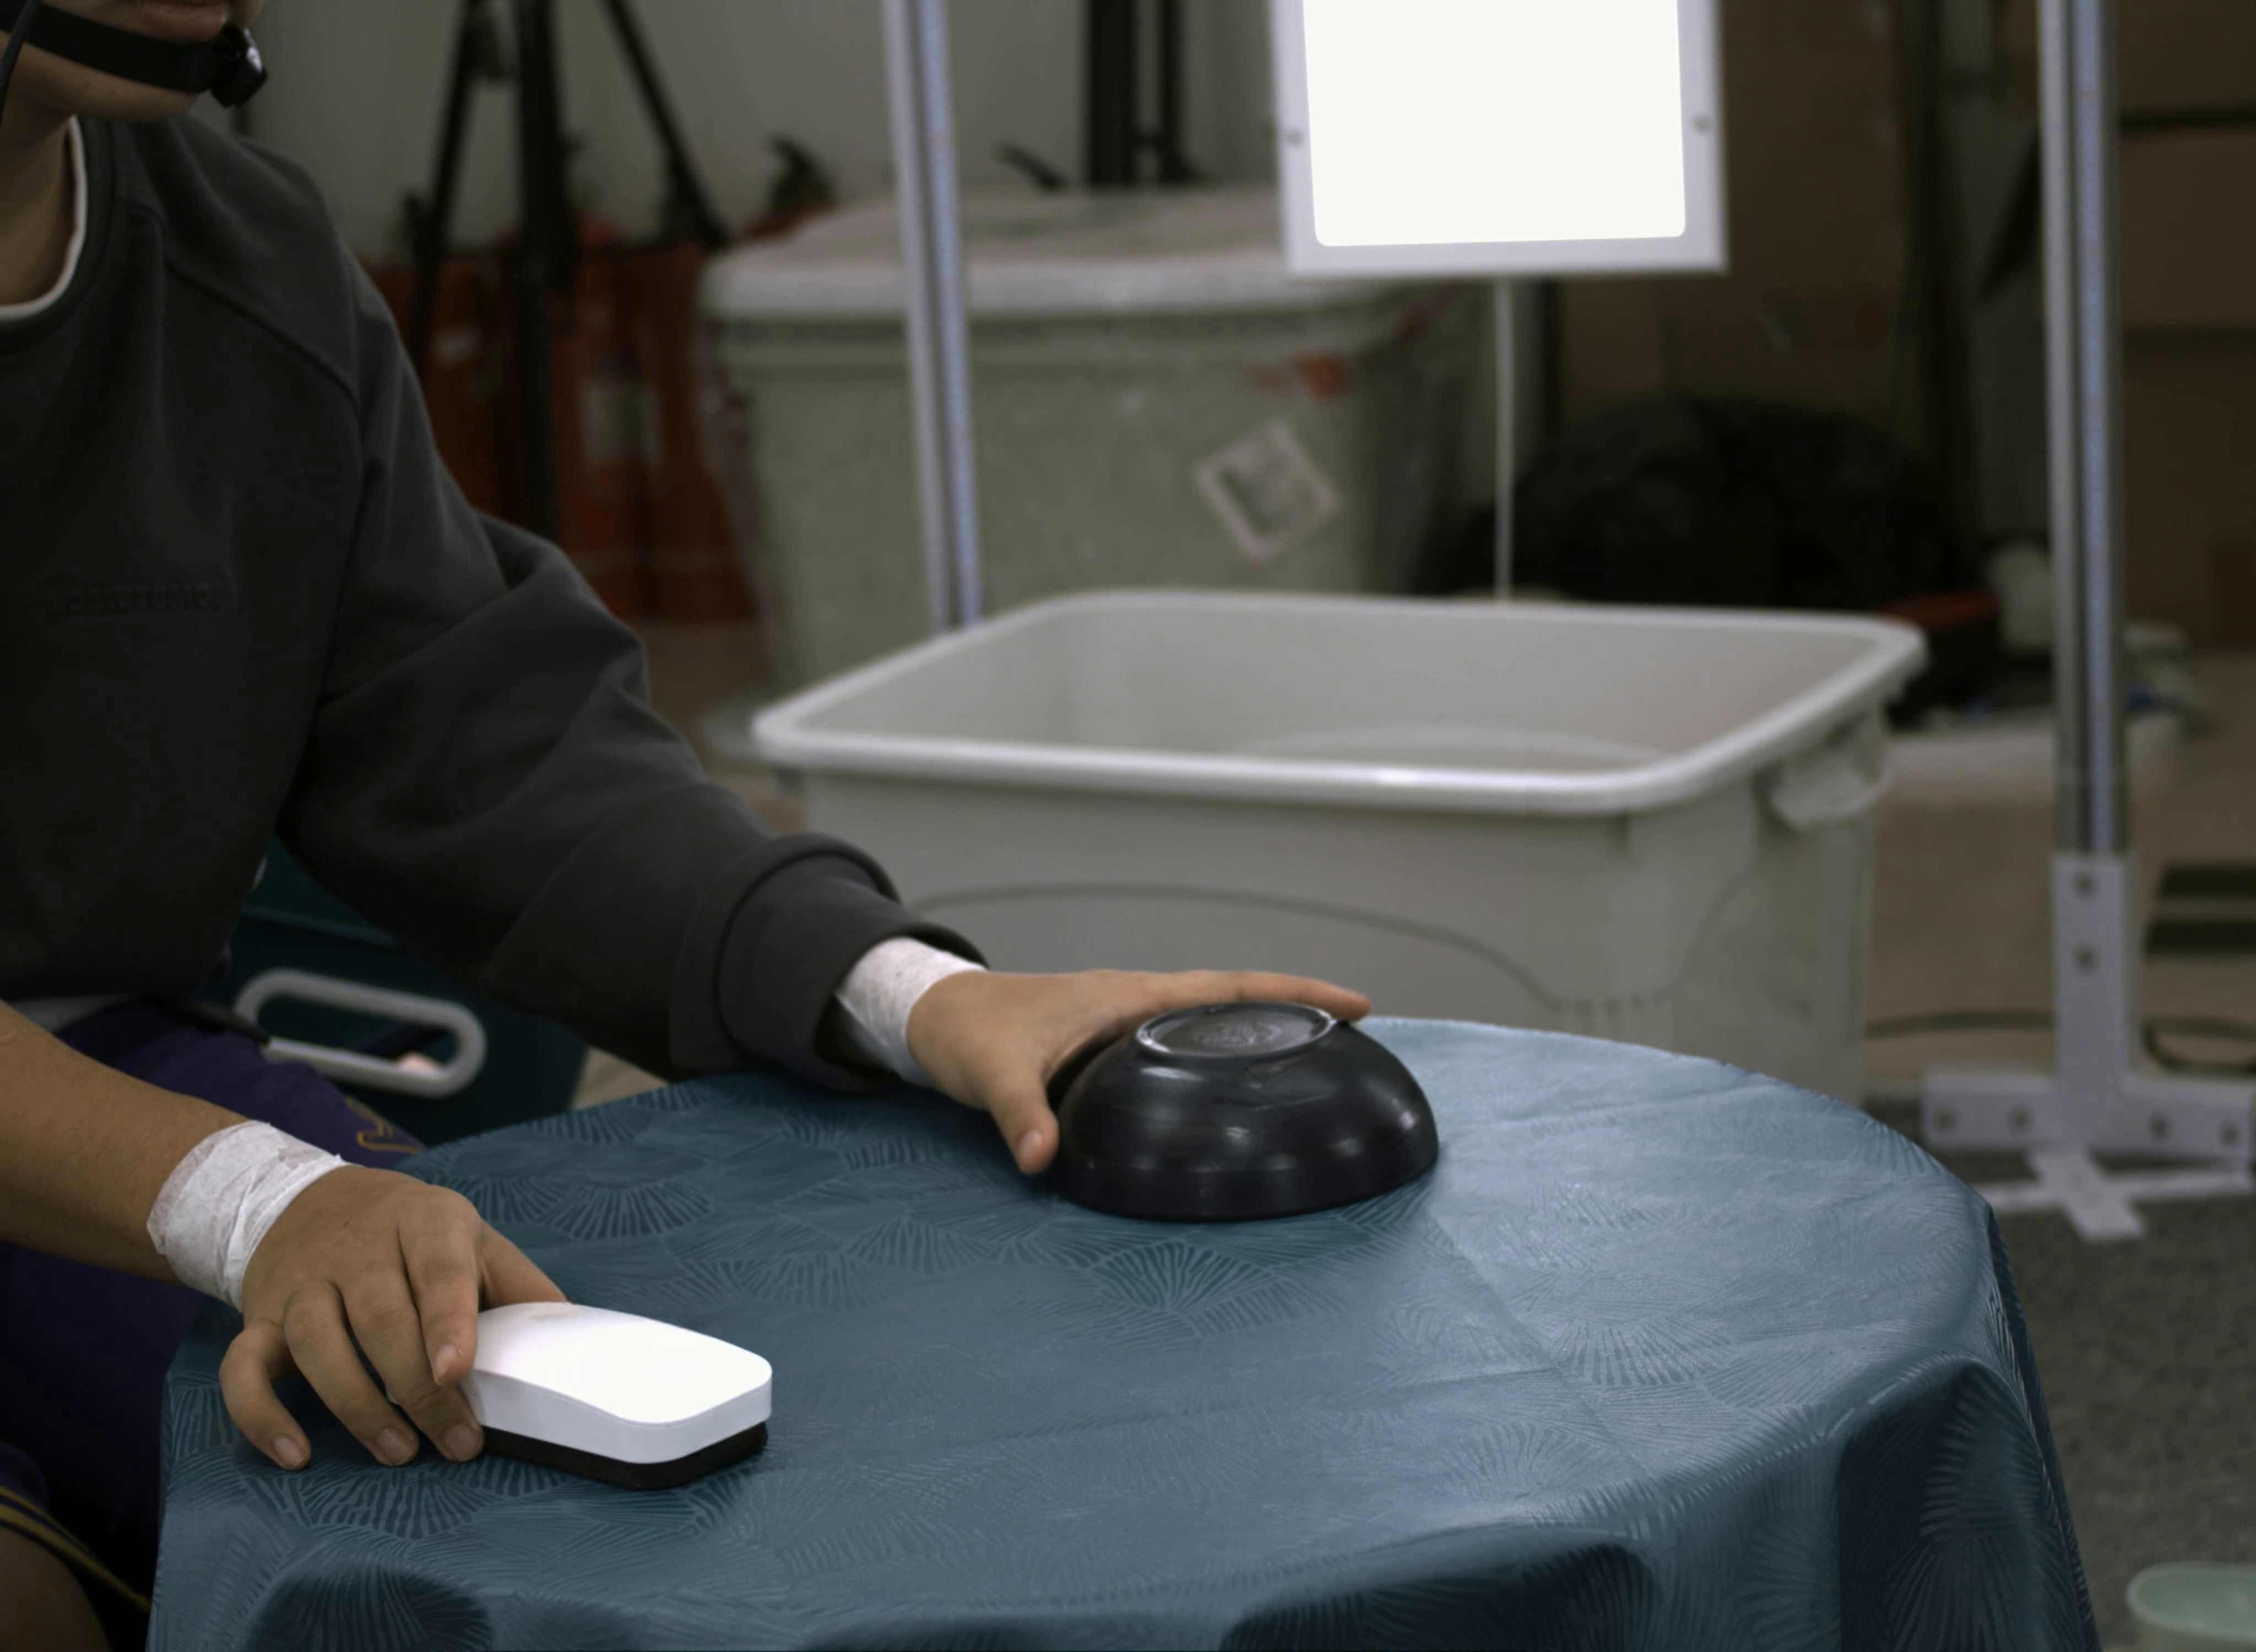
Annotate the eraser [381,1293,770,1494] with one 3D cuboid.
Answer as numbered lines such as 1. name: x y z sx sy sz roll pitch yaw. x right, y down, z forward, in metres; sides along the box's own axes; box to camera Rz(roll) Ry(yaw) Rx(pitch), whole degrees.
1. eraser: -0.170 0.172 1.705 0.134 0.034 0.062 11 19 43

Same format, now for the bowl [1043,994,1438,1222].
1. bowl: 0.038 0.092 1.914 0.139 0.050 0.140 -5 15 0
